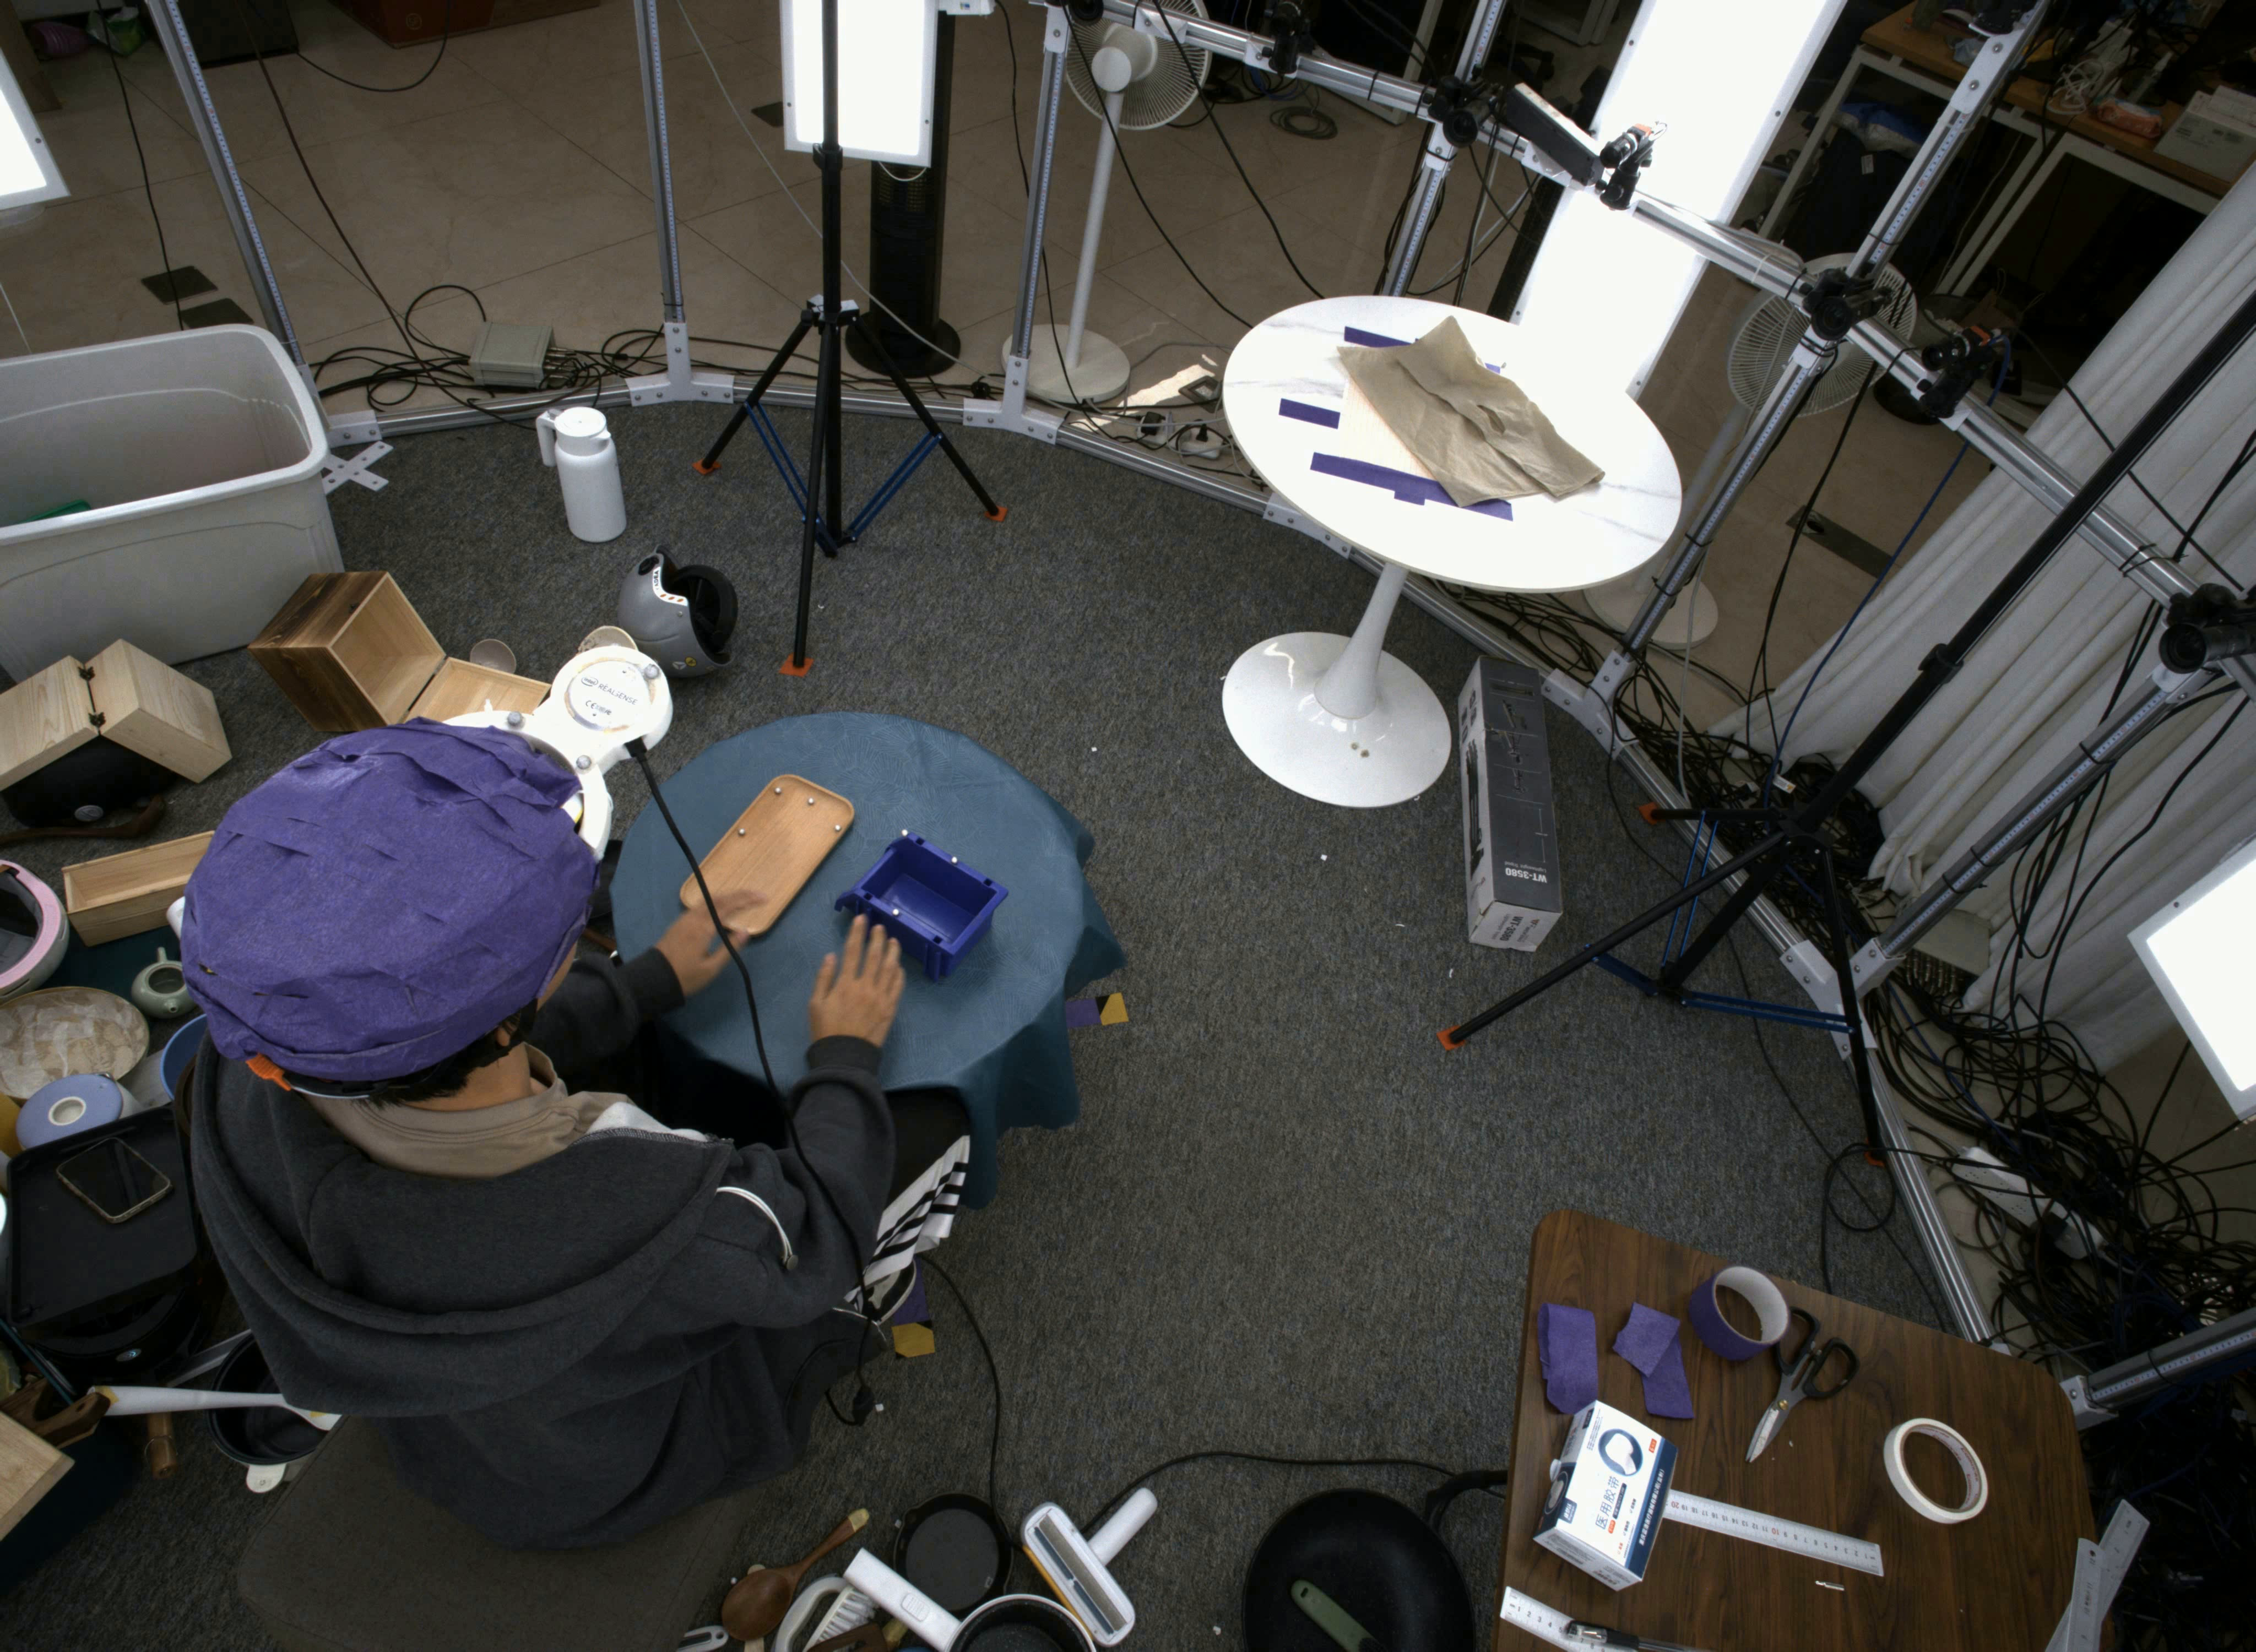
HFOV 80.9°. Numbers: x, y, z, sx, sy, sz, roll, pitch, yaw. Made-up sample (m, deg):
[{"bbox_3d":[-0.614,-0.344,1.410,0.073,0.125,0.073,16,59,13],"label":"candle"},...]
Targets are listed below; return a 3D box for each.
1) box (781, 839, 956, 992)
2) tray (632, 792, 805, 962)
[{"bbox_3d":[-0.326,0.107,1.621,0.177,0.083,0.124,31,53,6],"label":"box"},{"bbox_3d":[-0.520,0.060,1.648,0.128,0.023,0.249,22,52,6],"label":"tray"}]
